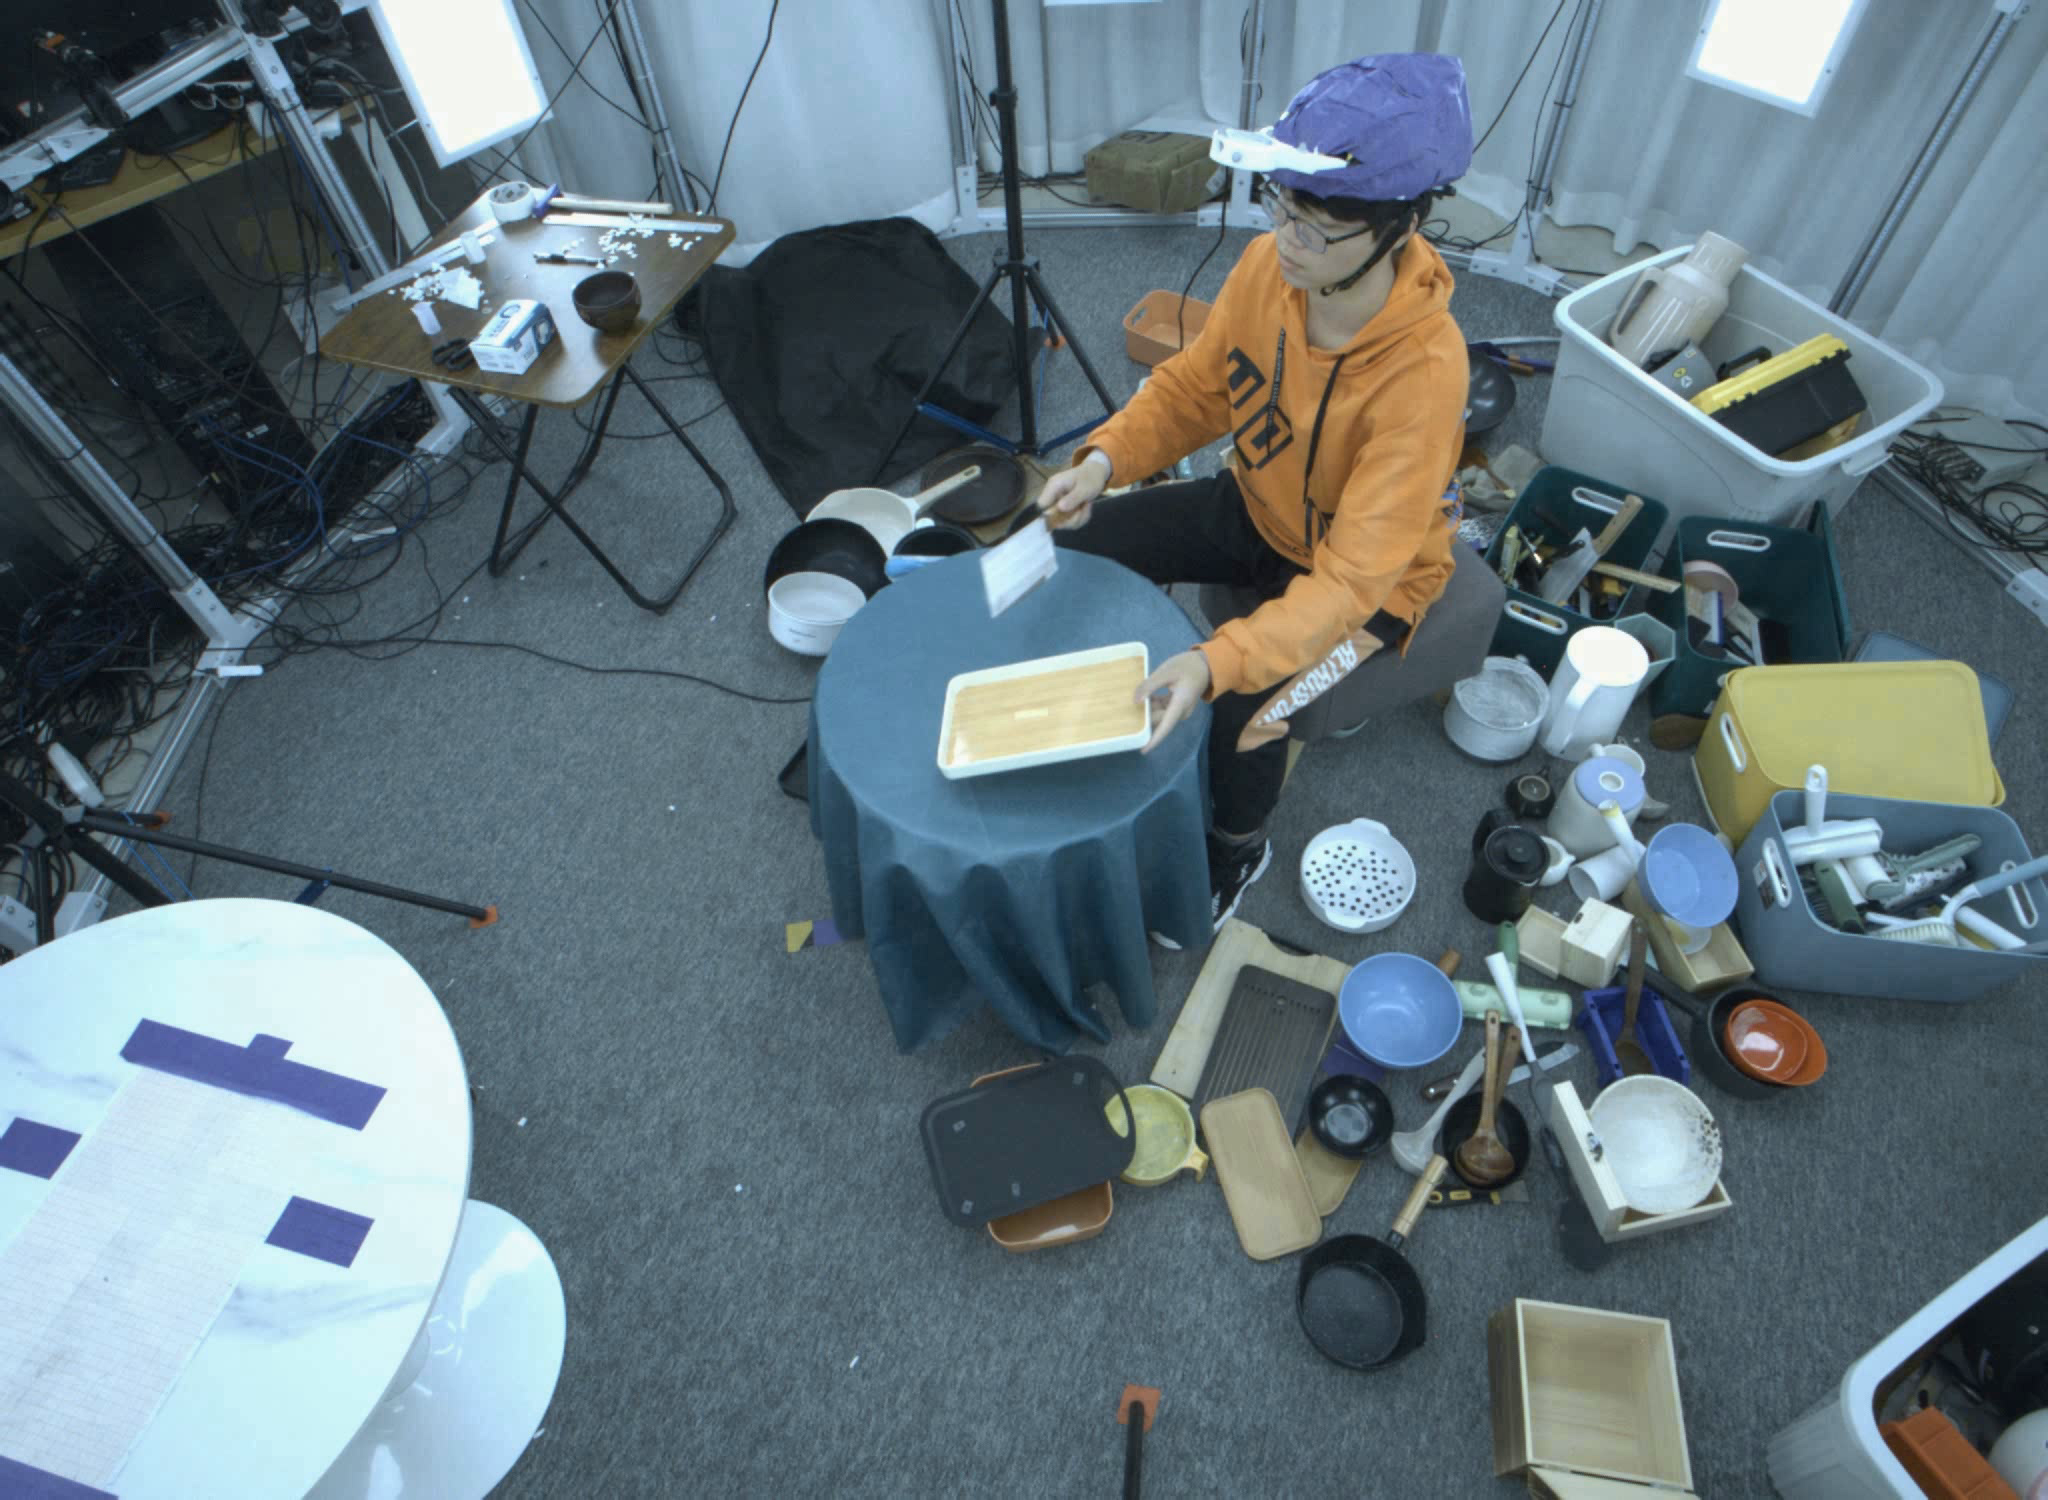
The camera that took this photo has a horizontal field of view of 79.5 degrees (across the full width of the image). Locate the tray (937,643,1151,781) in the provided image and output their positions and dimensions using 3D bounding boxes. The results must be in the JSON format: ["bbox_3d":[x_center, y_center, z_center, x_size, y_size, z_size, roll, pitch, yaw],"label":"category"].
[{"bbox_3d":[0.030,-0.054,1.727,0.298,0.028,0.190,-9,45,13],"label":"tray"}]

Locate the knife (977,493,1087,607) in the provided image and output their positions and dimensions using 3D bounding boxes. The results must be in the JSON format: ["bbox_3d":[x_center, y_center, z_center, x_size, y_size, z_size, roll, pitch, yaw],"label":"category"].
[{"bbox_3d":[0.017,-0.289,1.770,0.020,0.094,0.308,7,31,31],"label":"knife"}]
